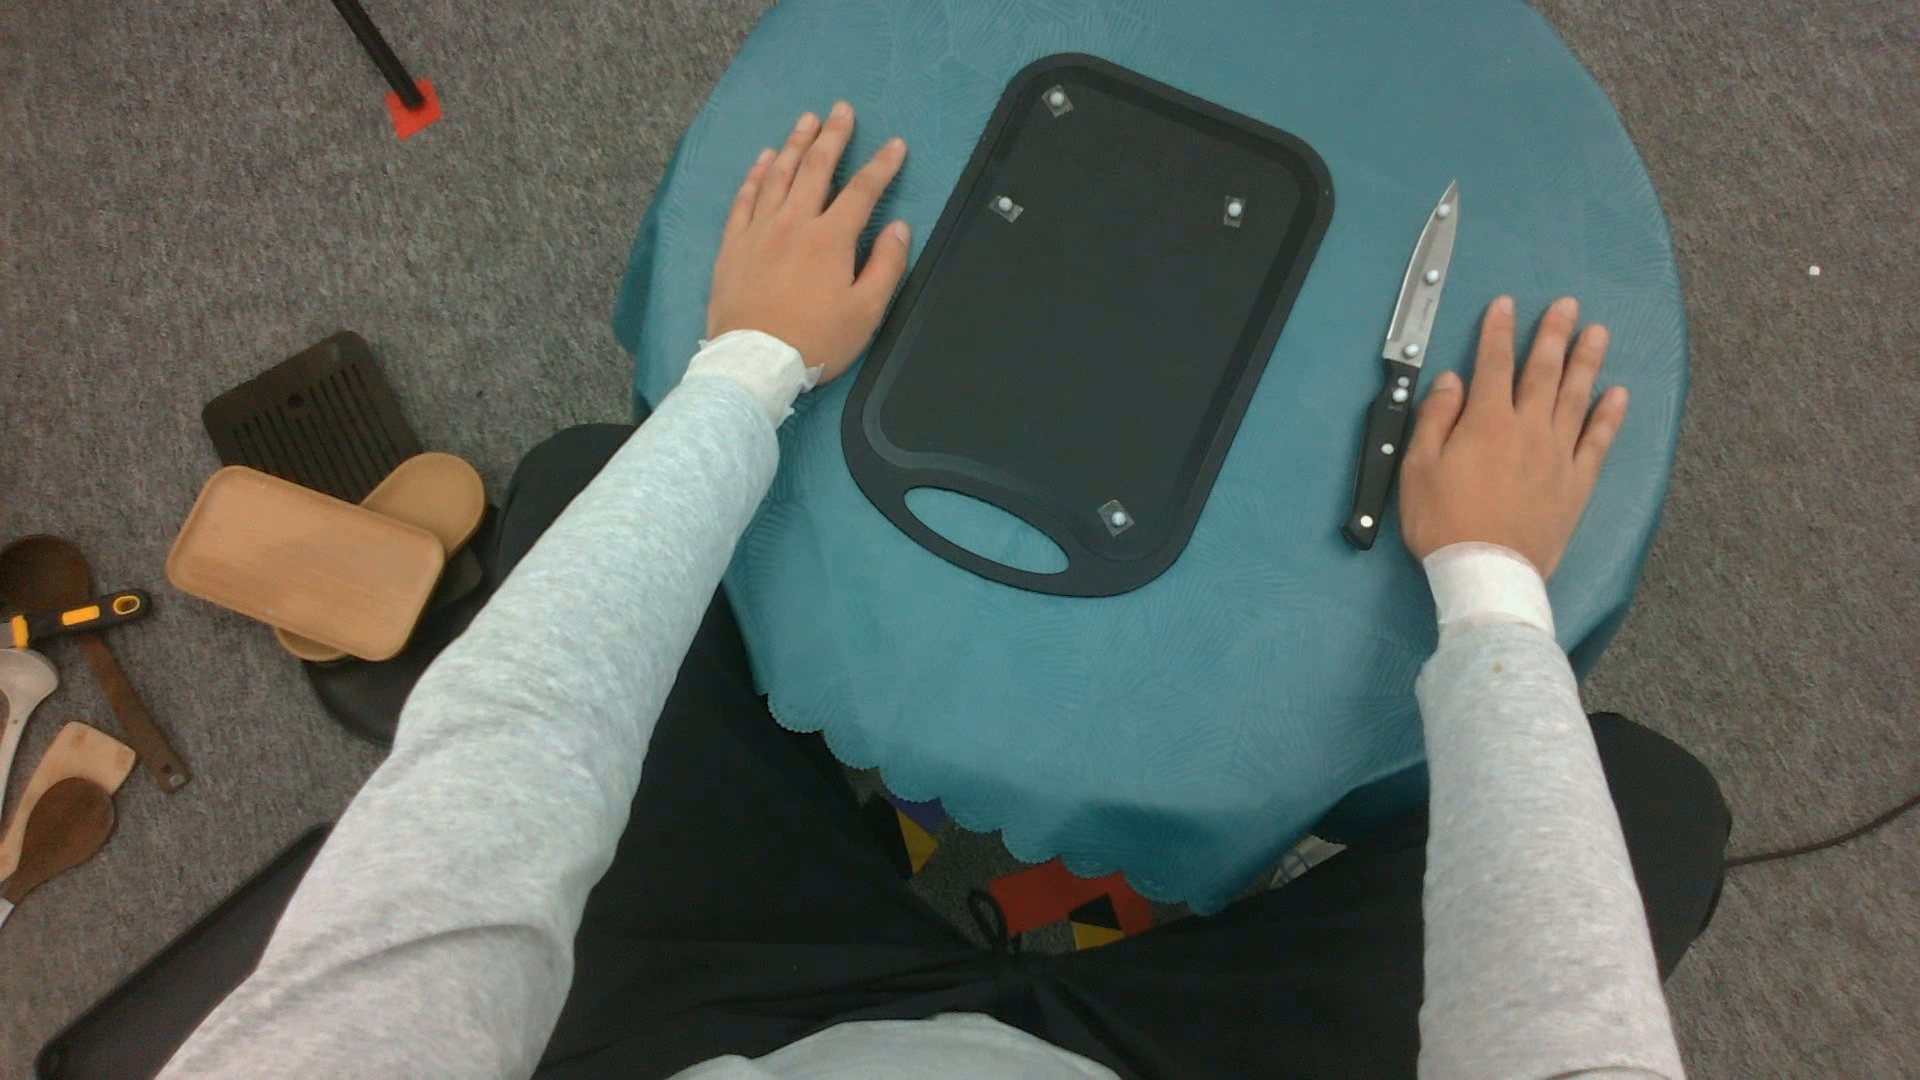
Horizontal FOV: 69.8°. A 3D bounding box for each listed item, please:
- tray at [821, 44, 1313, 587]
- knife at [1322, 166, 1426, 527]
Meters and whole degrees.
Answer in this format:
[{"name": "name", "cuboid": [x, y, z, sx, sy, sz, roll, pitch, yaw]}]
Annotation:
[{"name": "tray", "cuboid": [0.062, -0.132, 0.791, 0.211, 0.010, 0.326, 24, 76, 6]}, {"name": "knife", "cuboid": [0.242, -0.114, 0.786, 0.024, 0.016, 0.239, 17, 73, 3]}]
